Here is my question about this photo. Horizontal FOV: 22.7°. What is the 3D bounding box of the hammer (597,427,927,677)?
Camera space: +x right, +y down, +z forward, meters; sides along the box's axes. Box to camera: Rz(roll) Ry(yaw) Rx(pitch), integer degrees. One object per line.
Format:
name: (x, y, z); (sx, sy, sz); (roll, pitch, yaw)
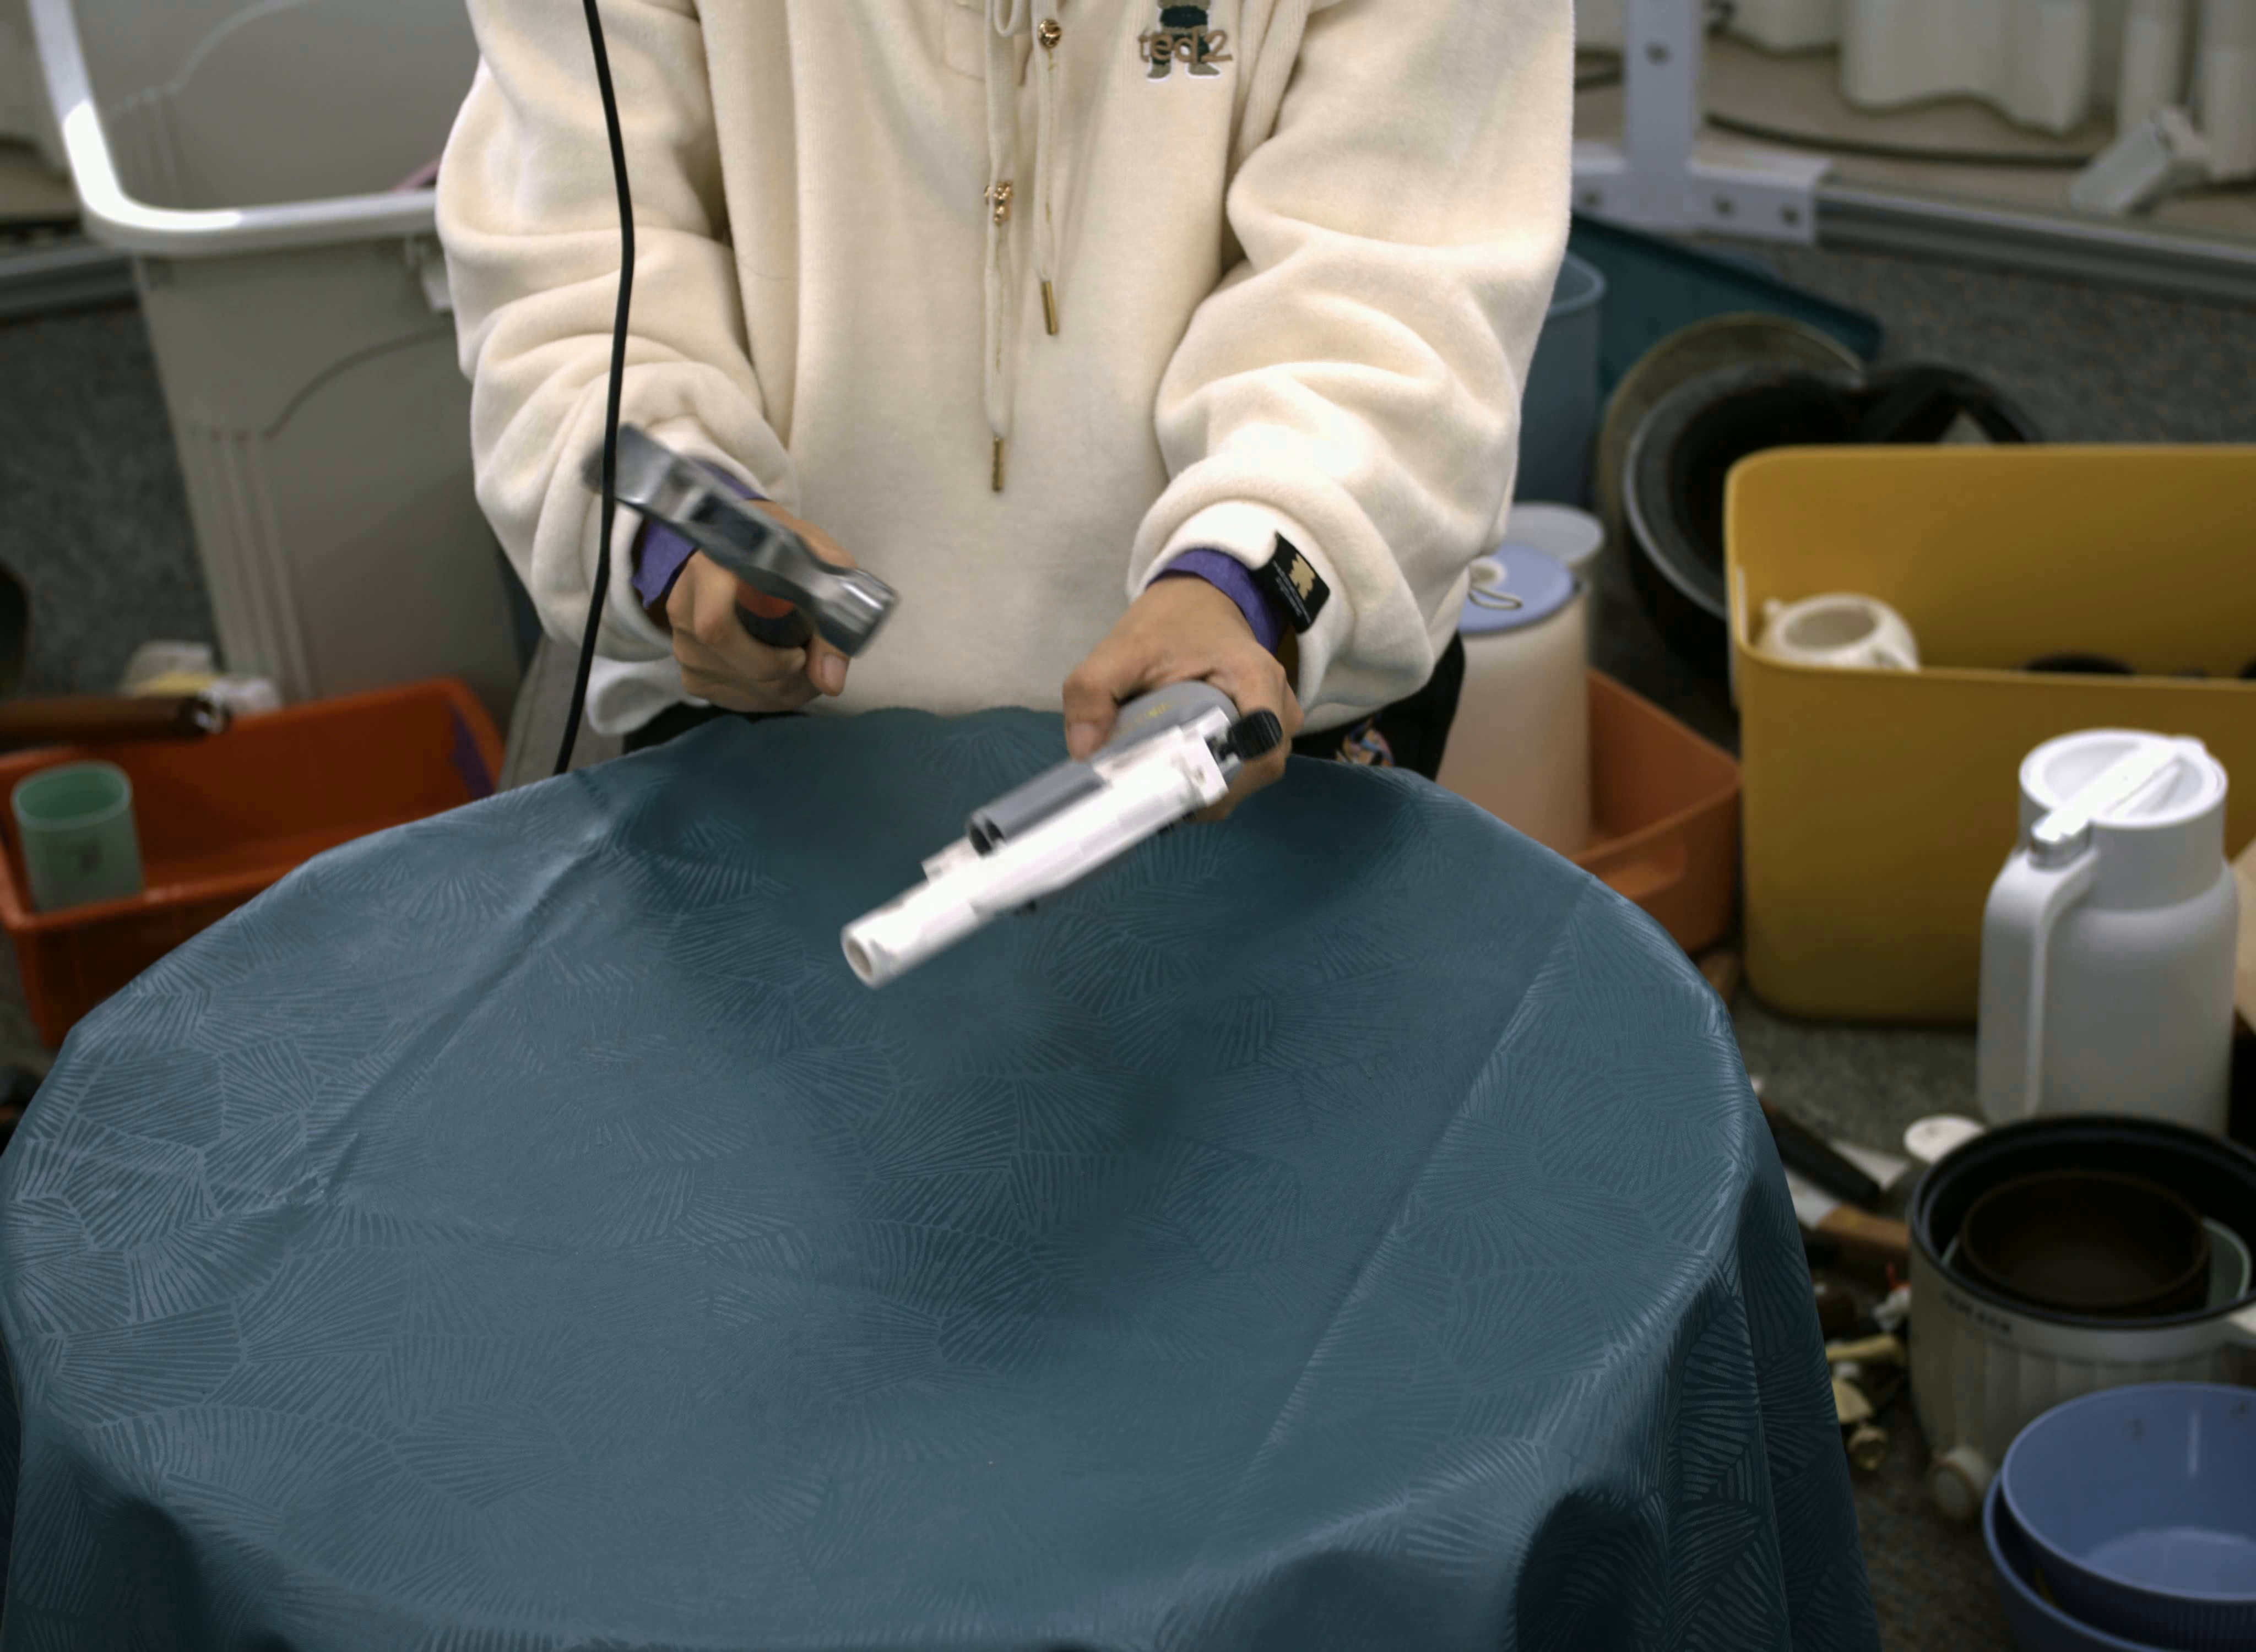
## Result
hammer: (-0.120, -0.083, 1.916); (0.110, 0.026, 0.276); (27, -6, 2)

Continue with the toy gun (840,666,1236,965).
toy gun: (-0.030, -0.007, 1.860); (0.211, 0.039, 0.140); (-29, 11, -29)
